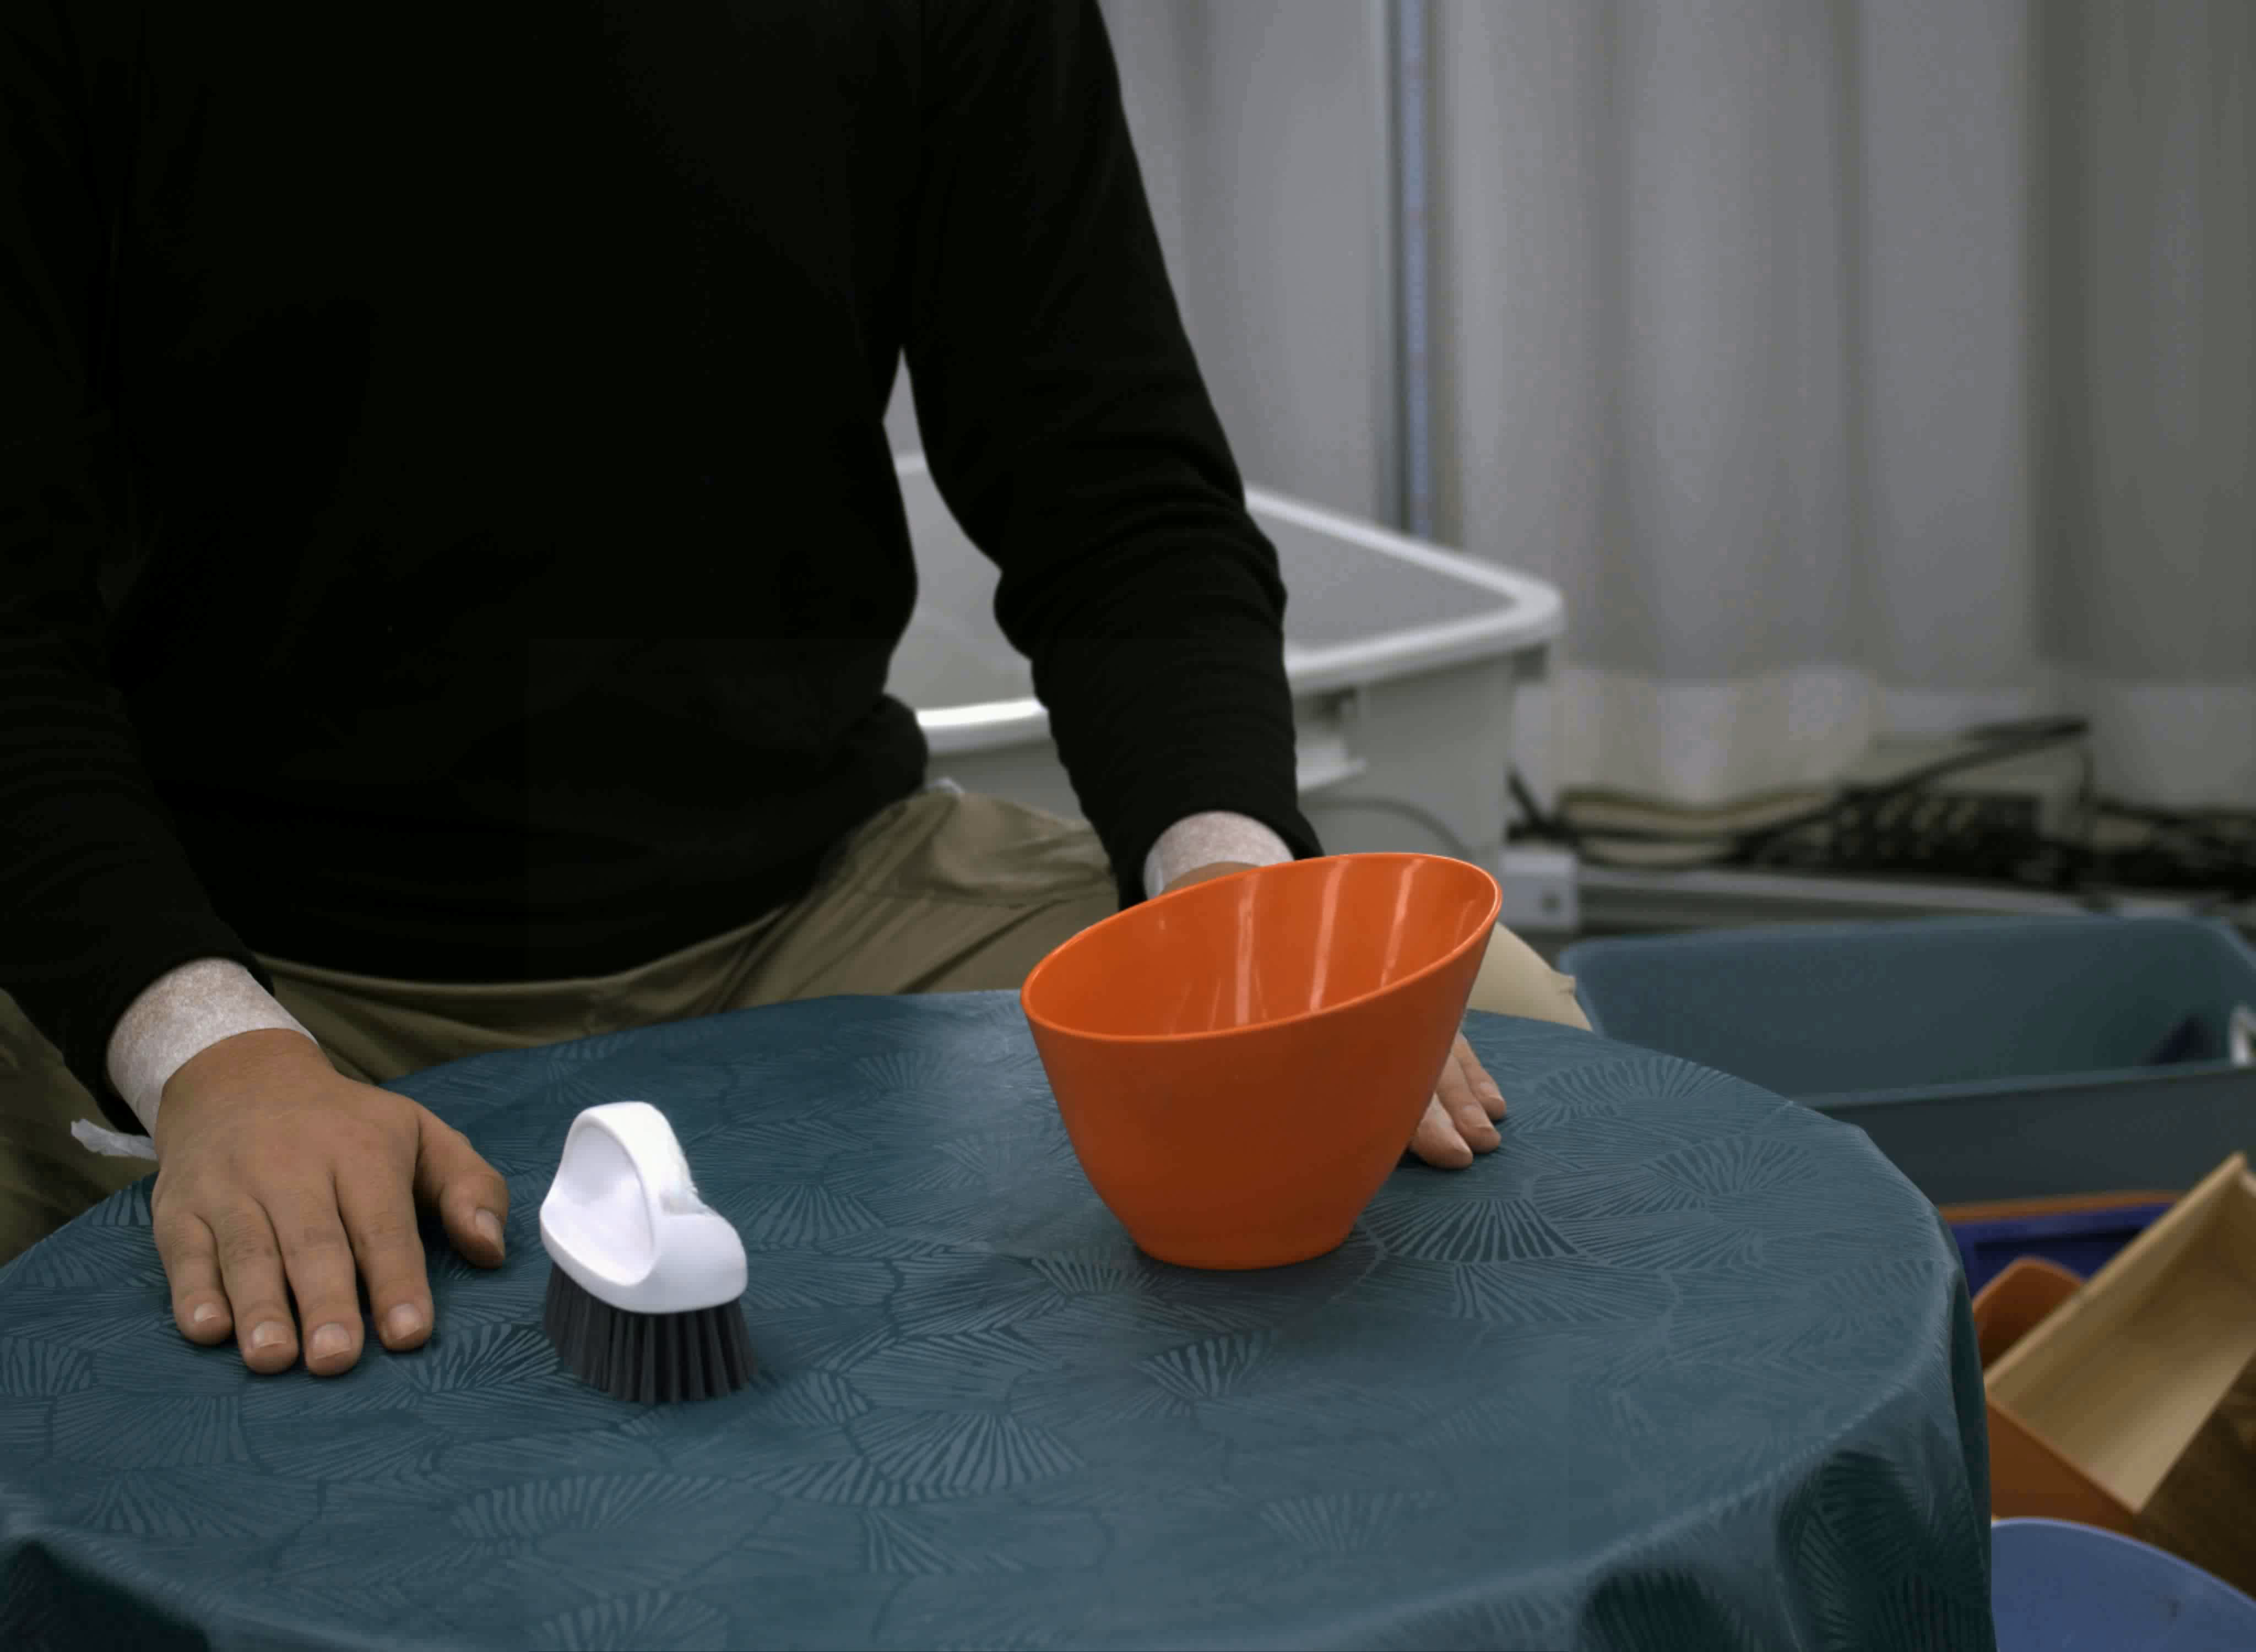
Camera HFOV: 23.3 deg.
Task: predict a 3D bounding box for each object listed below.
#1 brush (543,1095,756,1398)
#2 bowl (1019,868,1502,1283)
[{"bbox_3d":[-0.142,0.117,1.590,0.050,0.072,0.100,-8,15,-18],"label":"brush"},{"bbox_3d":[0.043,0.078,1.657,0.147,0.104,0.149,-4,13,1],"label":"bowl"}]
